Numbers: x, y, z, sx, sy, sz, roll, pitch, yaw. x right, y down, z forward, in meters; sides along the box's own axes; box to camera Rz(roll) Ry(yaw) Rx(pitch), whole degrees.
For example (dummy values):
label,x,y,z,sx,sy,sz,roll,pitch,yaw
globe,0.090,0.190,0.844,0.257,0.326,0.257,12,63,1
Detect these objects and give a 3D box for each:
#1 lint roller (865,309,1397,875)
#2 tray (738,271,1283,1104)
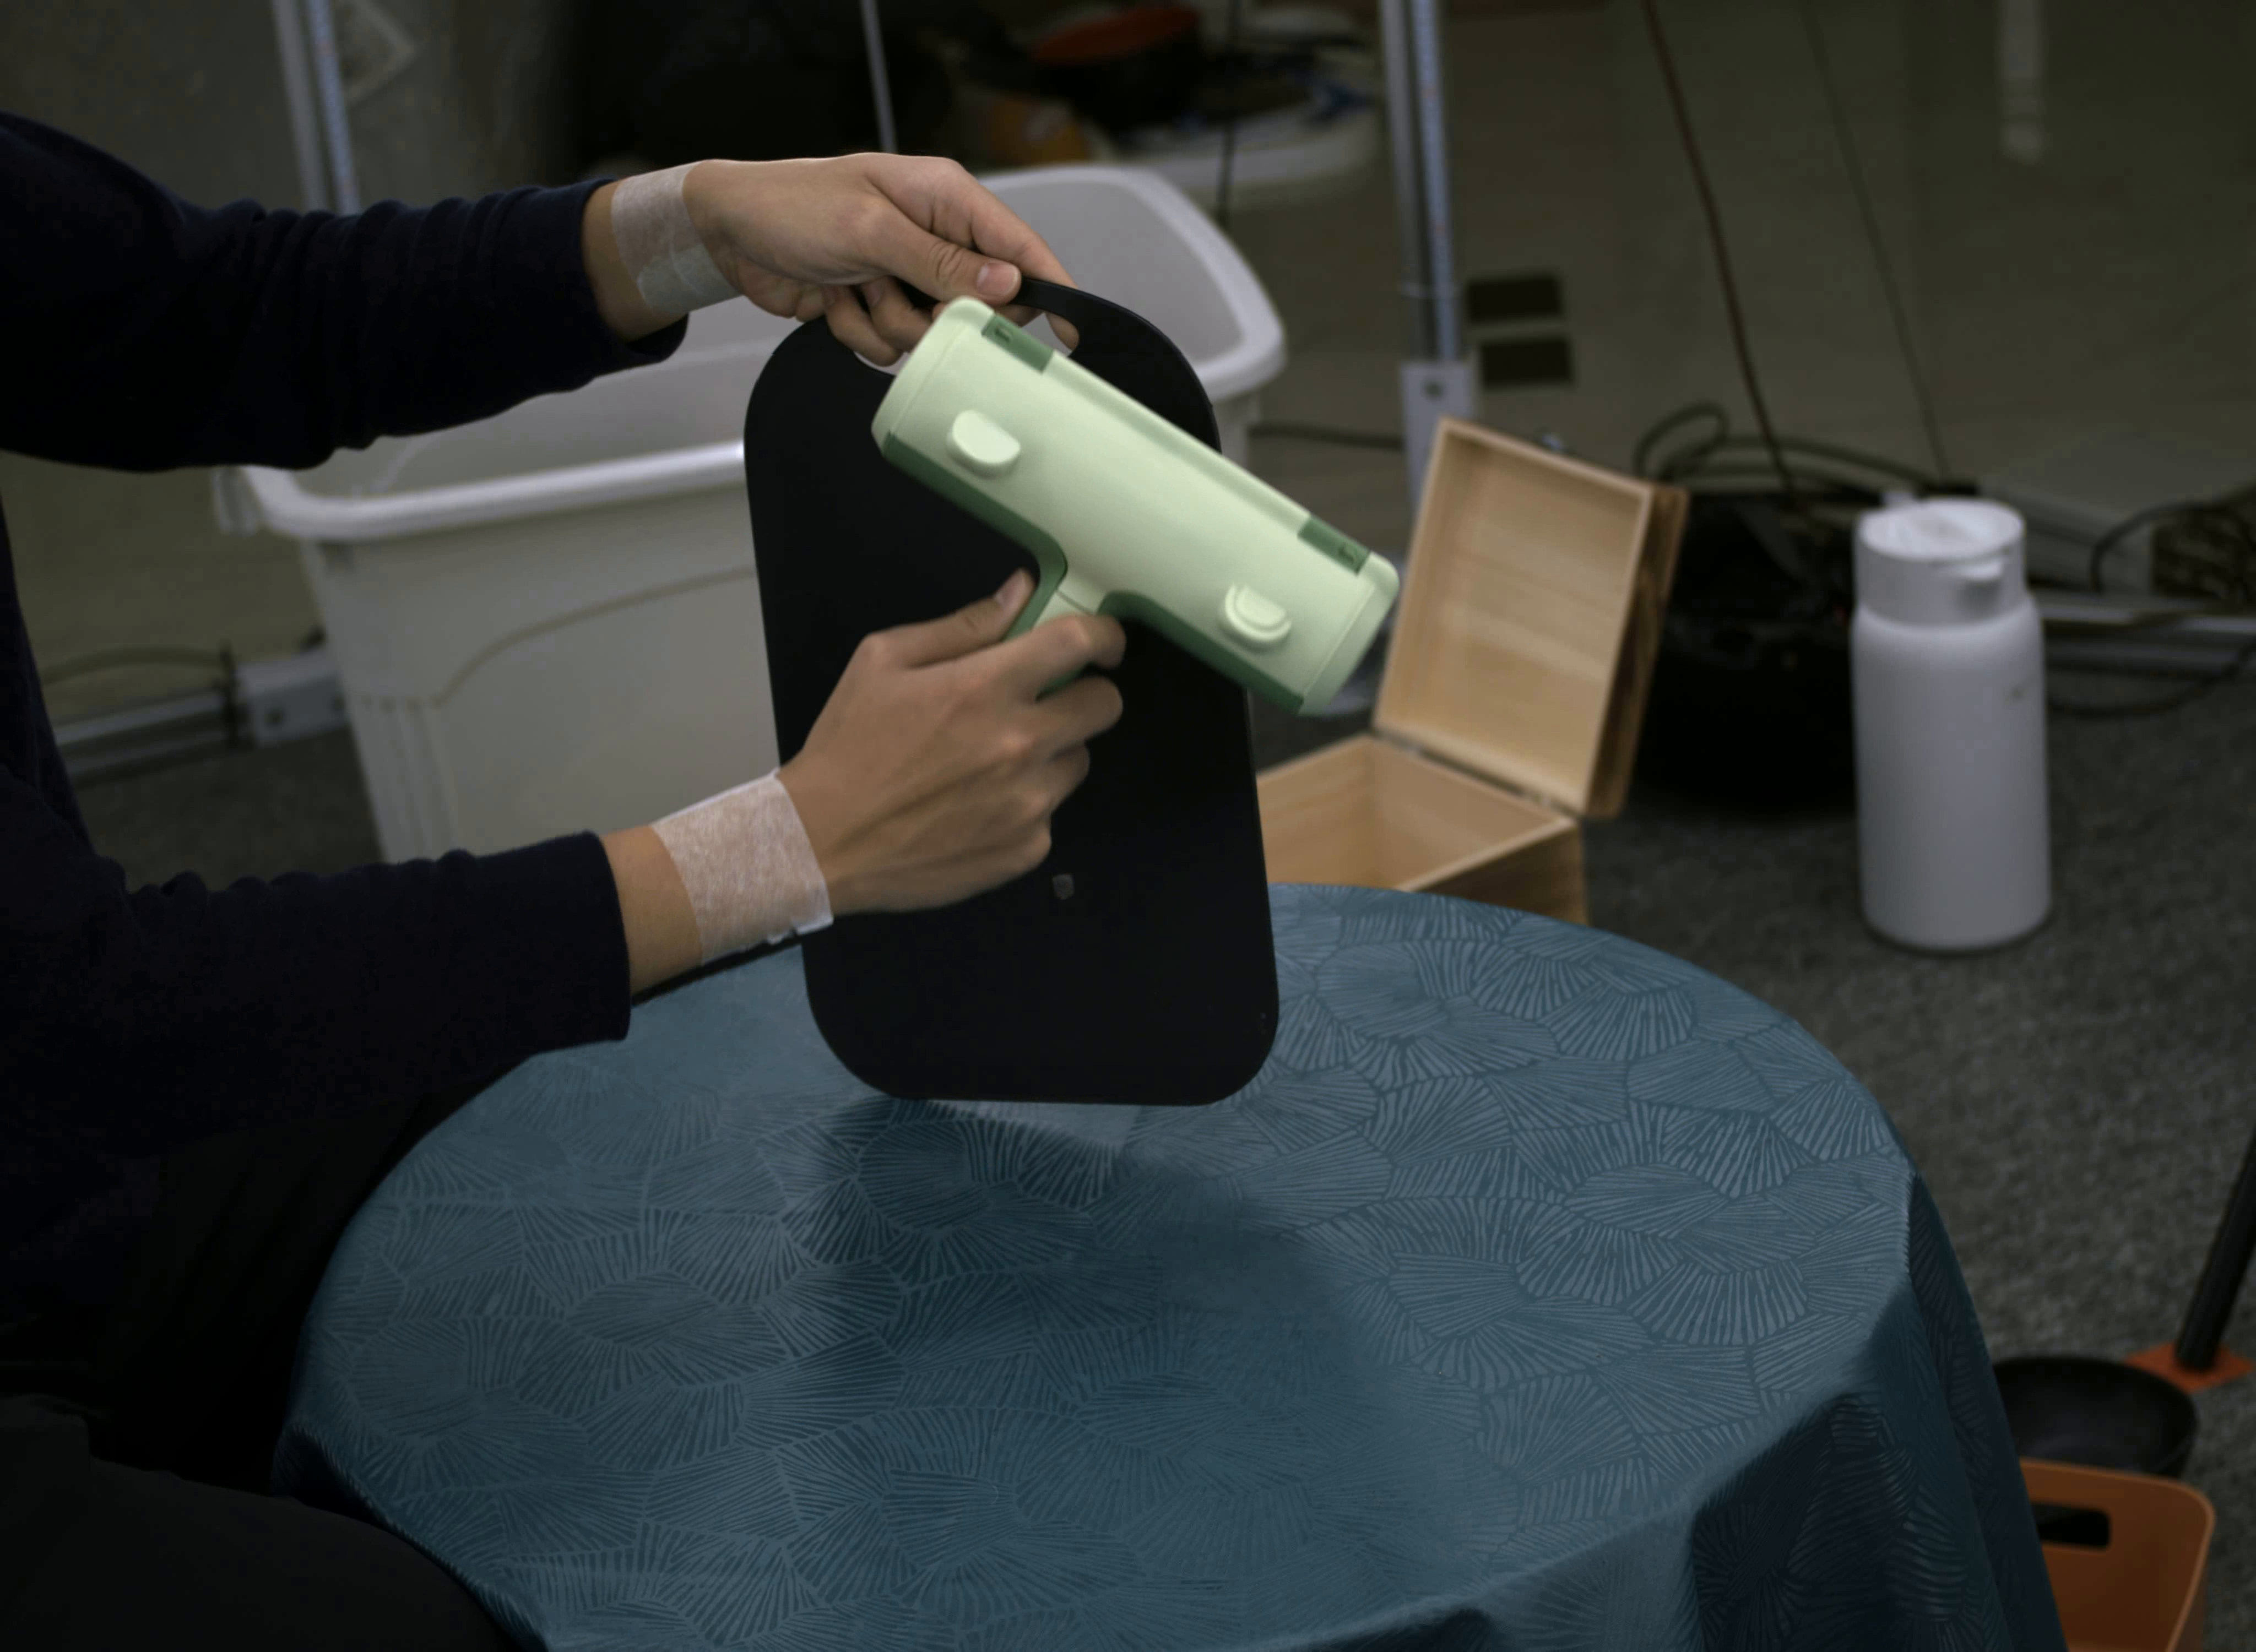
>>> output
label,x,y,z,sx,sy,sz,roll,pitch,yaw
lint roller,-0.030,-0.062,2.043,0.198,0.183,0.082,32,0,0
tray,-0.047,-0.051,2.167,0.210,0.328,0.010,0,15,28
